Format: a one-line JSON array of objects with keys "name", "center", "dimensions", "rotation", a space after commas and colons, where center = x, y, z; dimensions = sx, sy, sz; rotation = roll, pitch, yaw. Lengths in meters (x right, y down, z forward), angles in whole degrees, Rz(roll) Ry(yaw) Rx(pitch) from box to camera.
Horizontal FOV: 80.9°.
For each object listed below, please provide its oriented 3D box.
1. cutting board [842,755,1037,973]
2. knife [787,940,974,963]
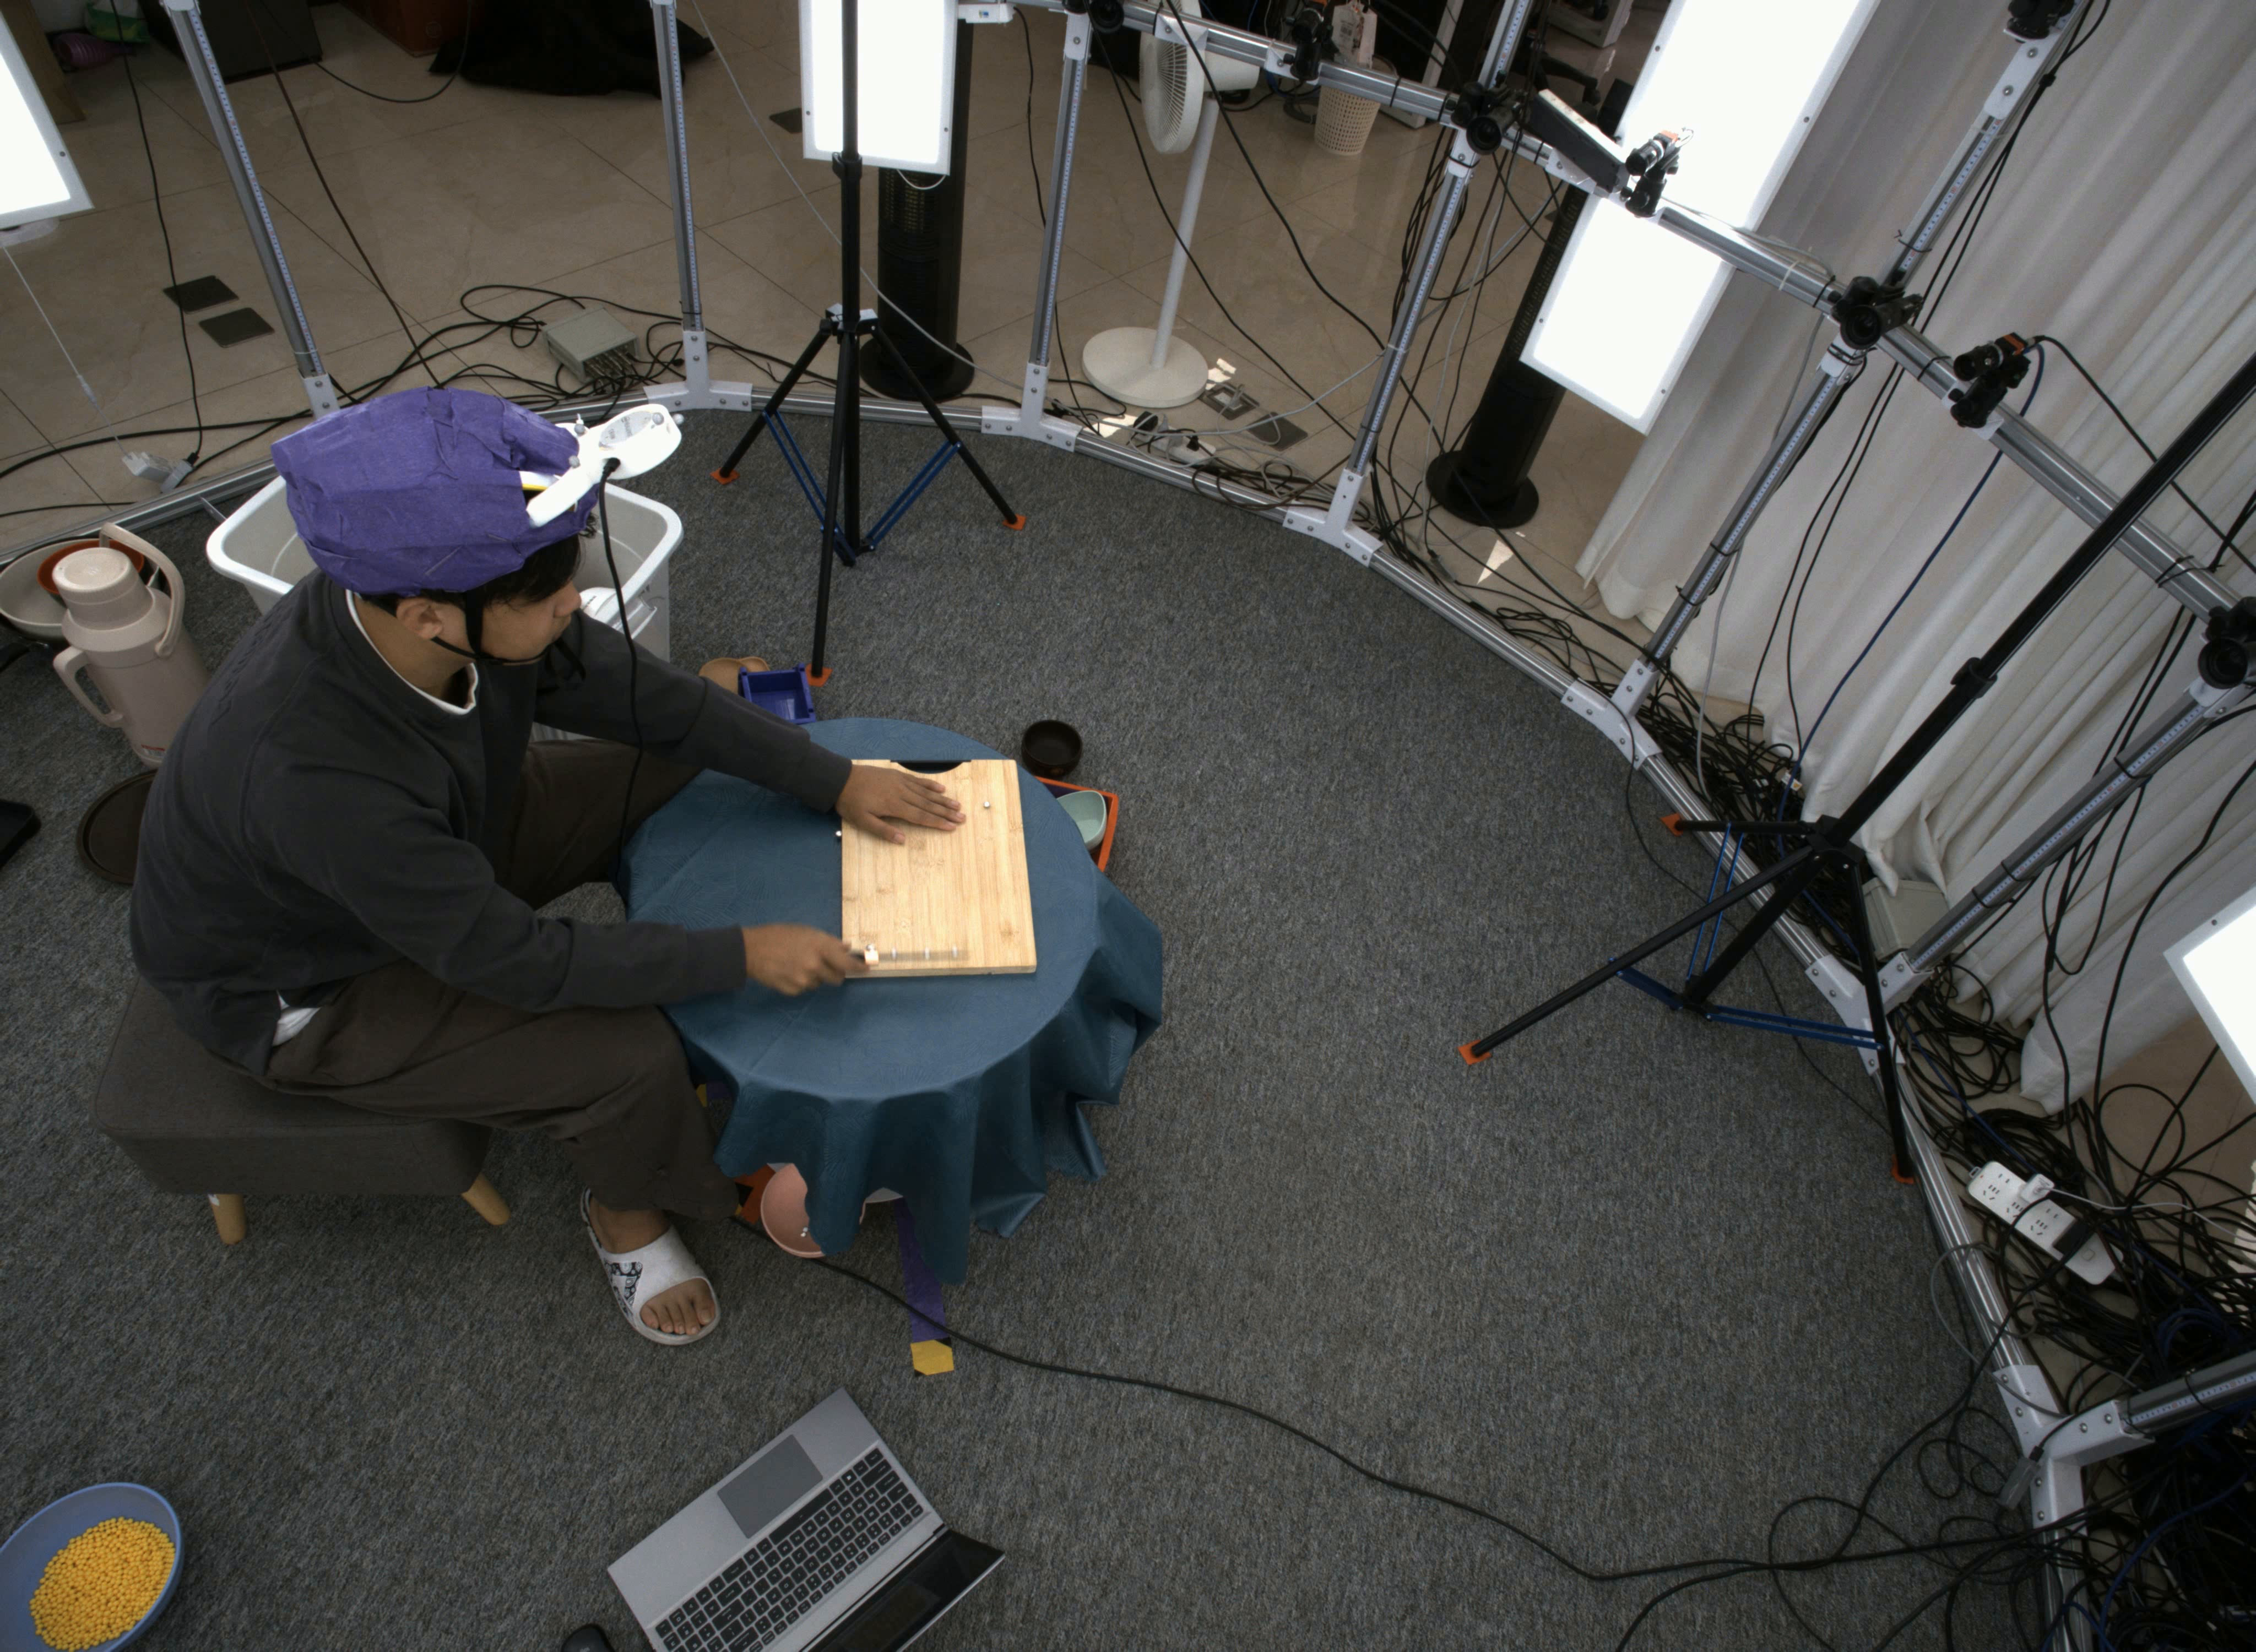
[{"name": "cutting board", "center": [-0.254, 0.043, 1.720], "dimensions": [0.251, 0.024, 0.341], "rotation": [0, 54, -15]}, {"name": "knife", "center": [-0.297, 0.147, 1.569], "dimensions": [0.225, 0.026, 0.017], "rotation": [-4, 97, -12]}]
